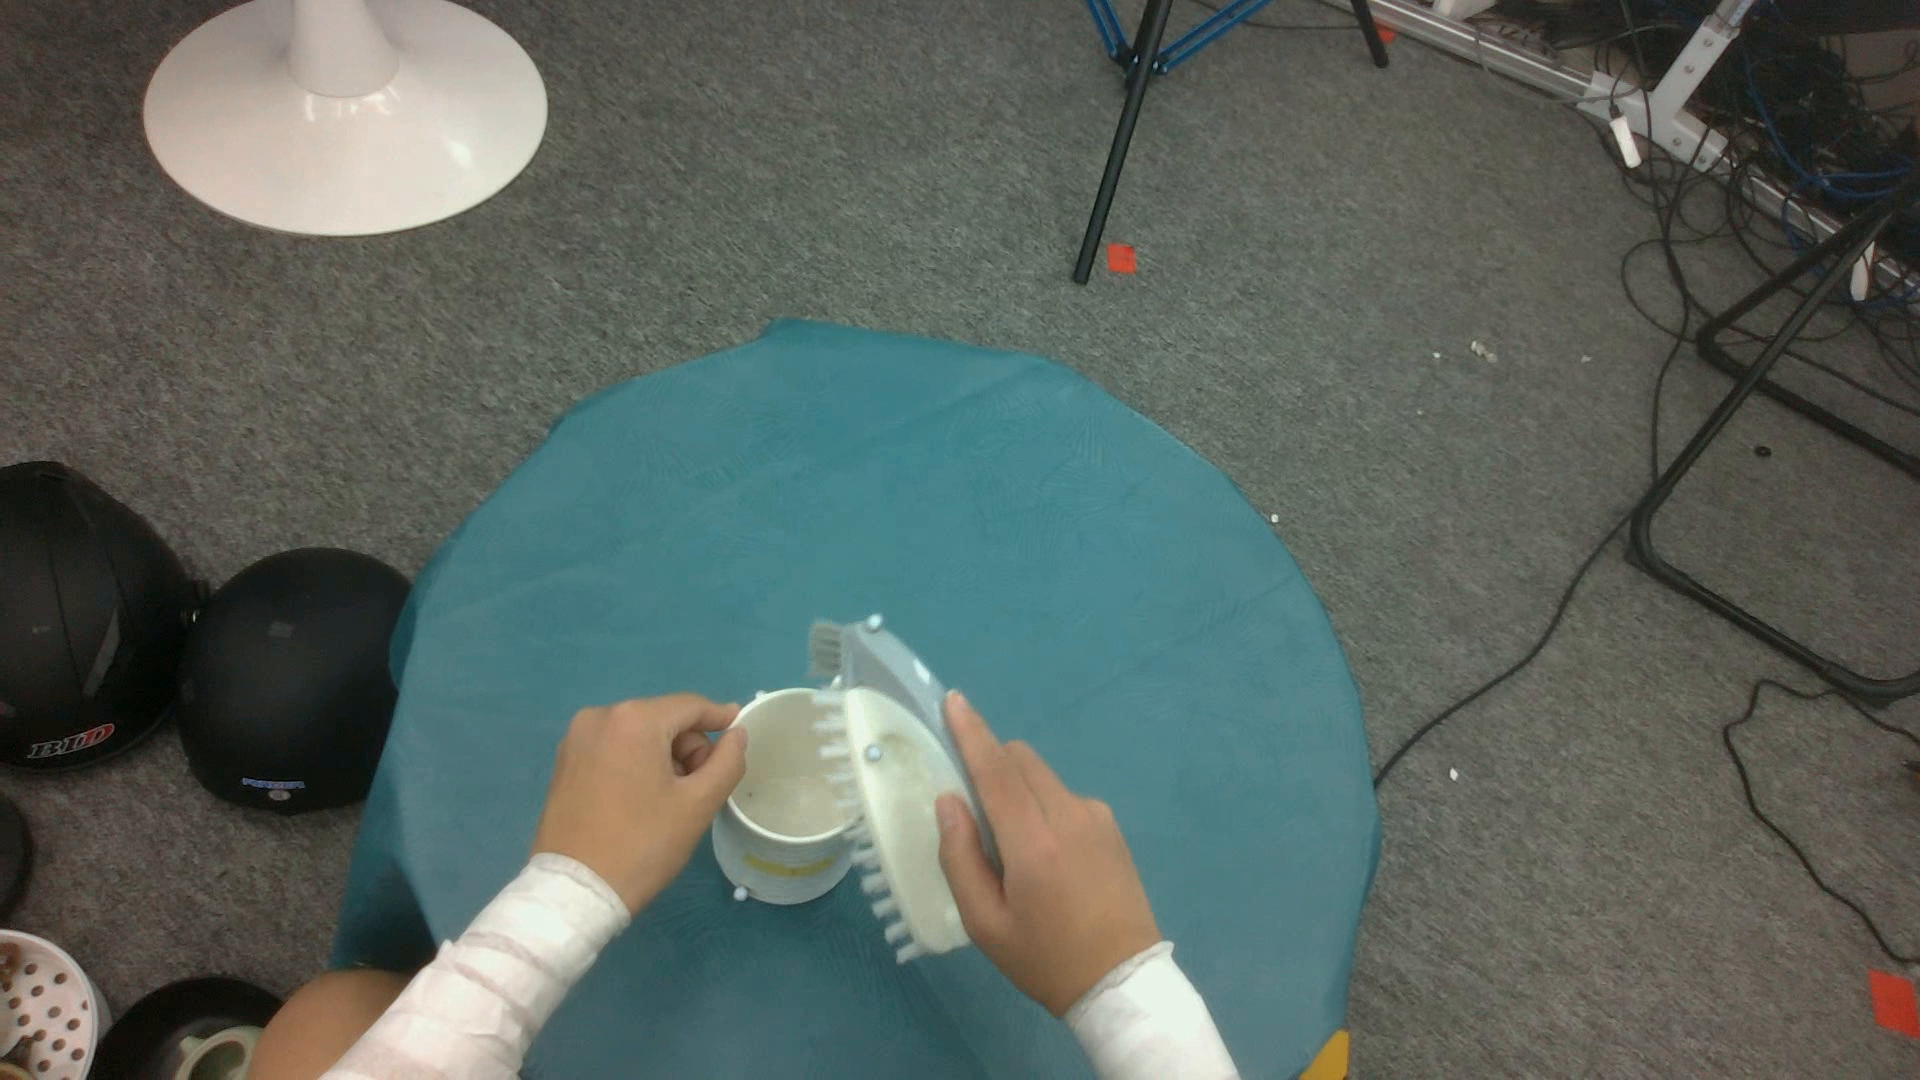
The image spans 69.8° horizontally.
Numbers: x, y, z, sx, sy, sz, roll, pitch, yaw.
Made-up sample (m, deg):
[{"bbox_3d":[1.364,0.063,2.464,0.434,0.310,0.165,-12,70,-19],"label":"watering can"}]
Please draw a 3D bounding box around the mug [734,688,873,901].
[{"bbox_3d":[-0.078,0.131,0.771,0.085,0.101,0.119,20,54,3],"label":"mug"}]

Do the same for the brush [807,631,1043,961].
[{"bbox_3d":[-0.016,0.120,0.695,0.062,0.094,0.175,-22,86,-47],"label":"brush"}]
